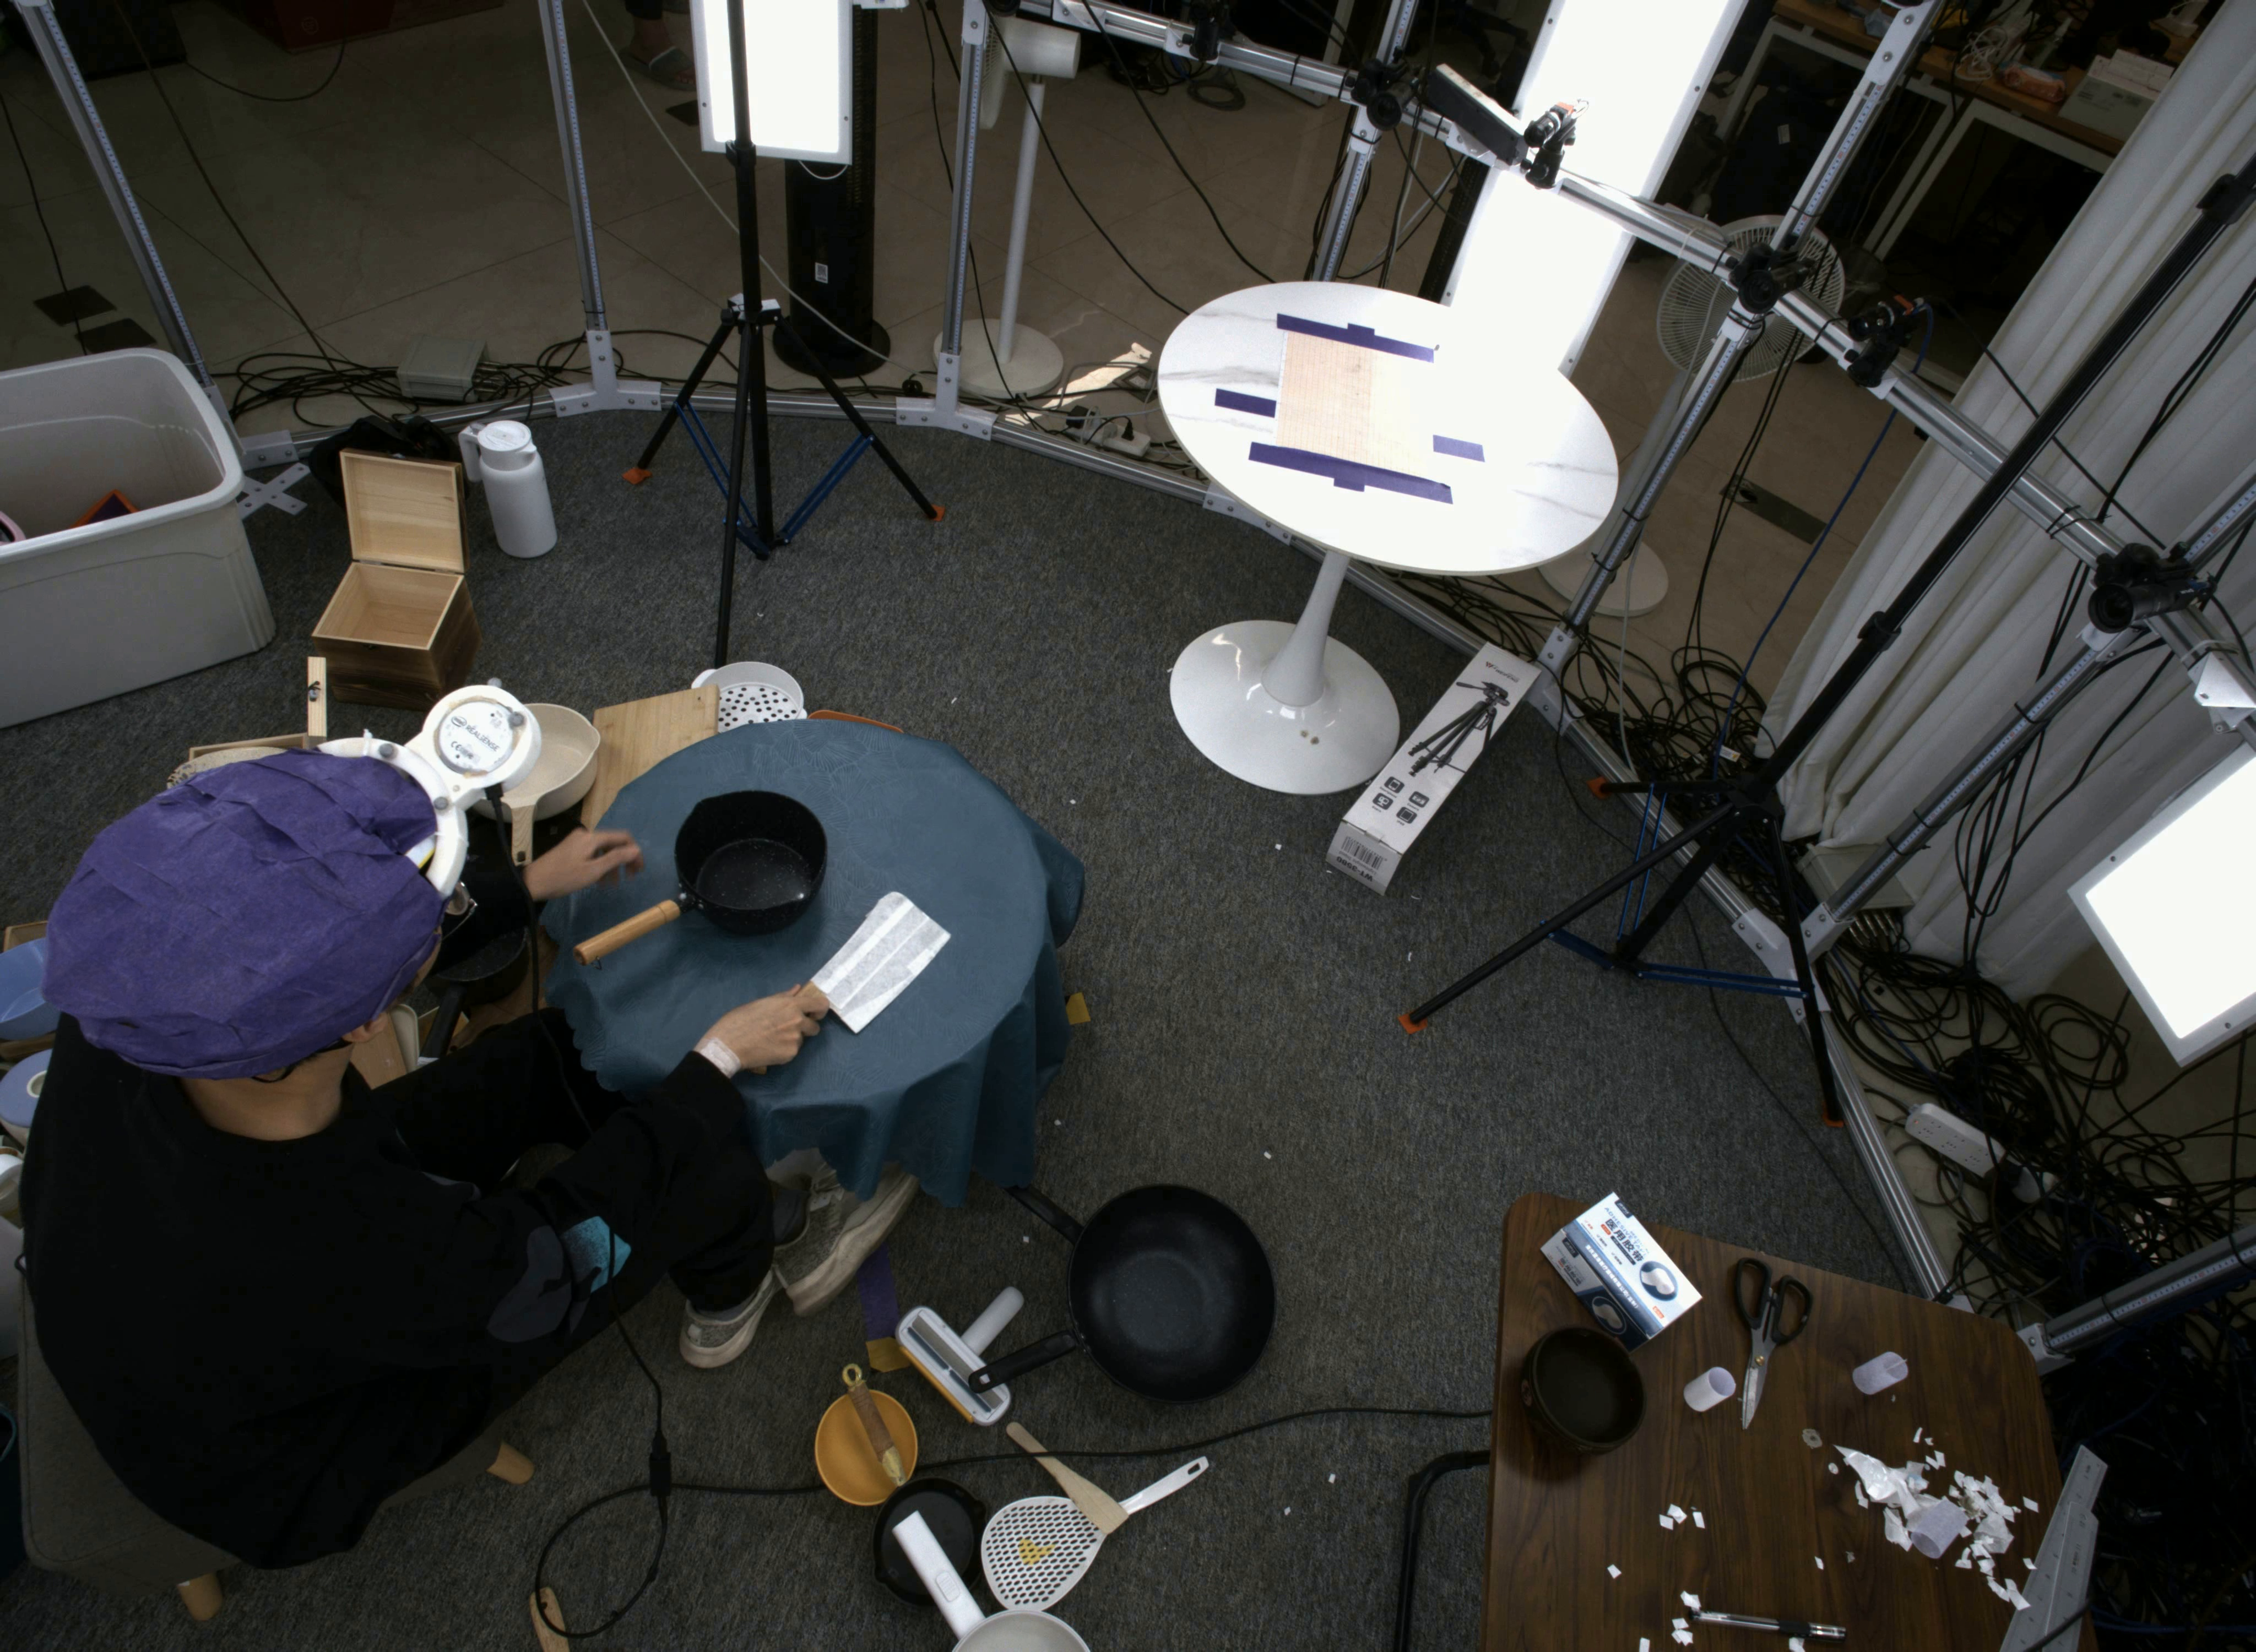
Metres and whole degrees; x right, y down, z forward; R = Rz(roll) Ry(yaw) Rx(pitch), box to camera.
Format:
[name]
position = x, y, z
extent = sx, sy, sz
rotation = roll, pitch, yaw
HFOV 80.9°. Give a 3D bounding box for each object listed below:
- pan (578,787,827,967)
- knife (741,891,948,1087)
[pan]
position = -0.515, 0.086, 1.554
extent = 0.203, 0.110, 0.343
rotation = 38, 52, 14
[knife]
position = -0.343, 0.194, 1.562
extent = 0.114, 0.021, 0.315
rotation = 48, 52, -4
